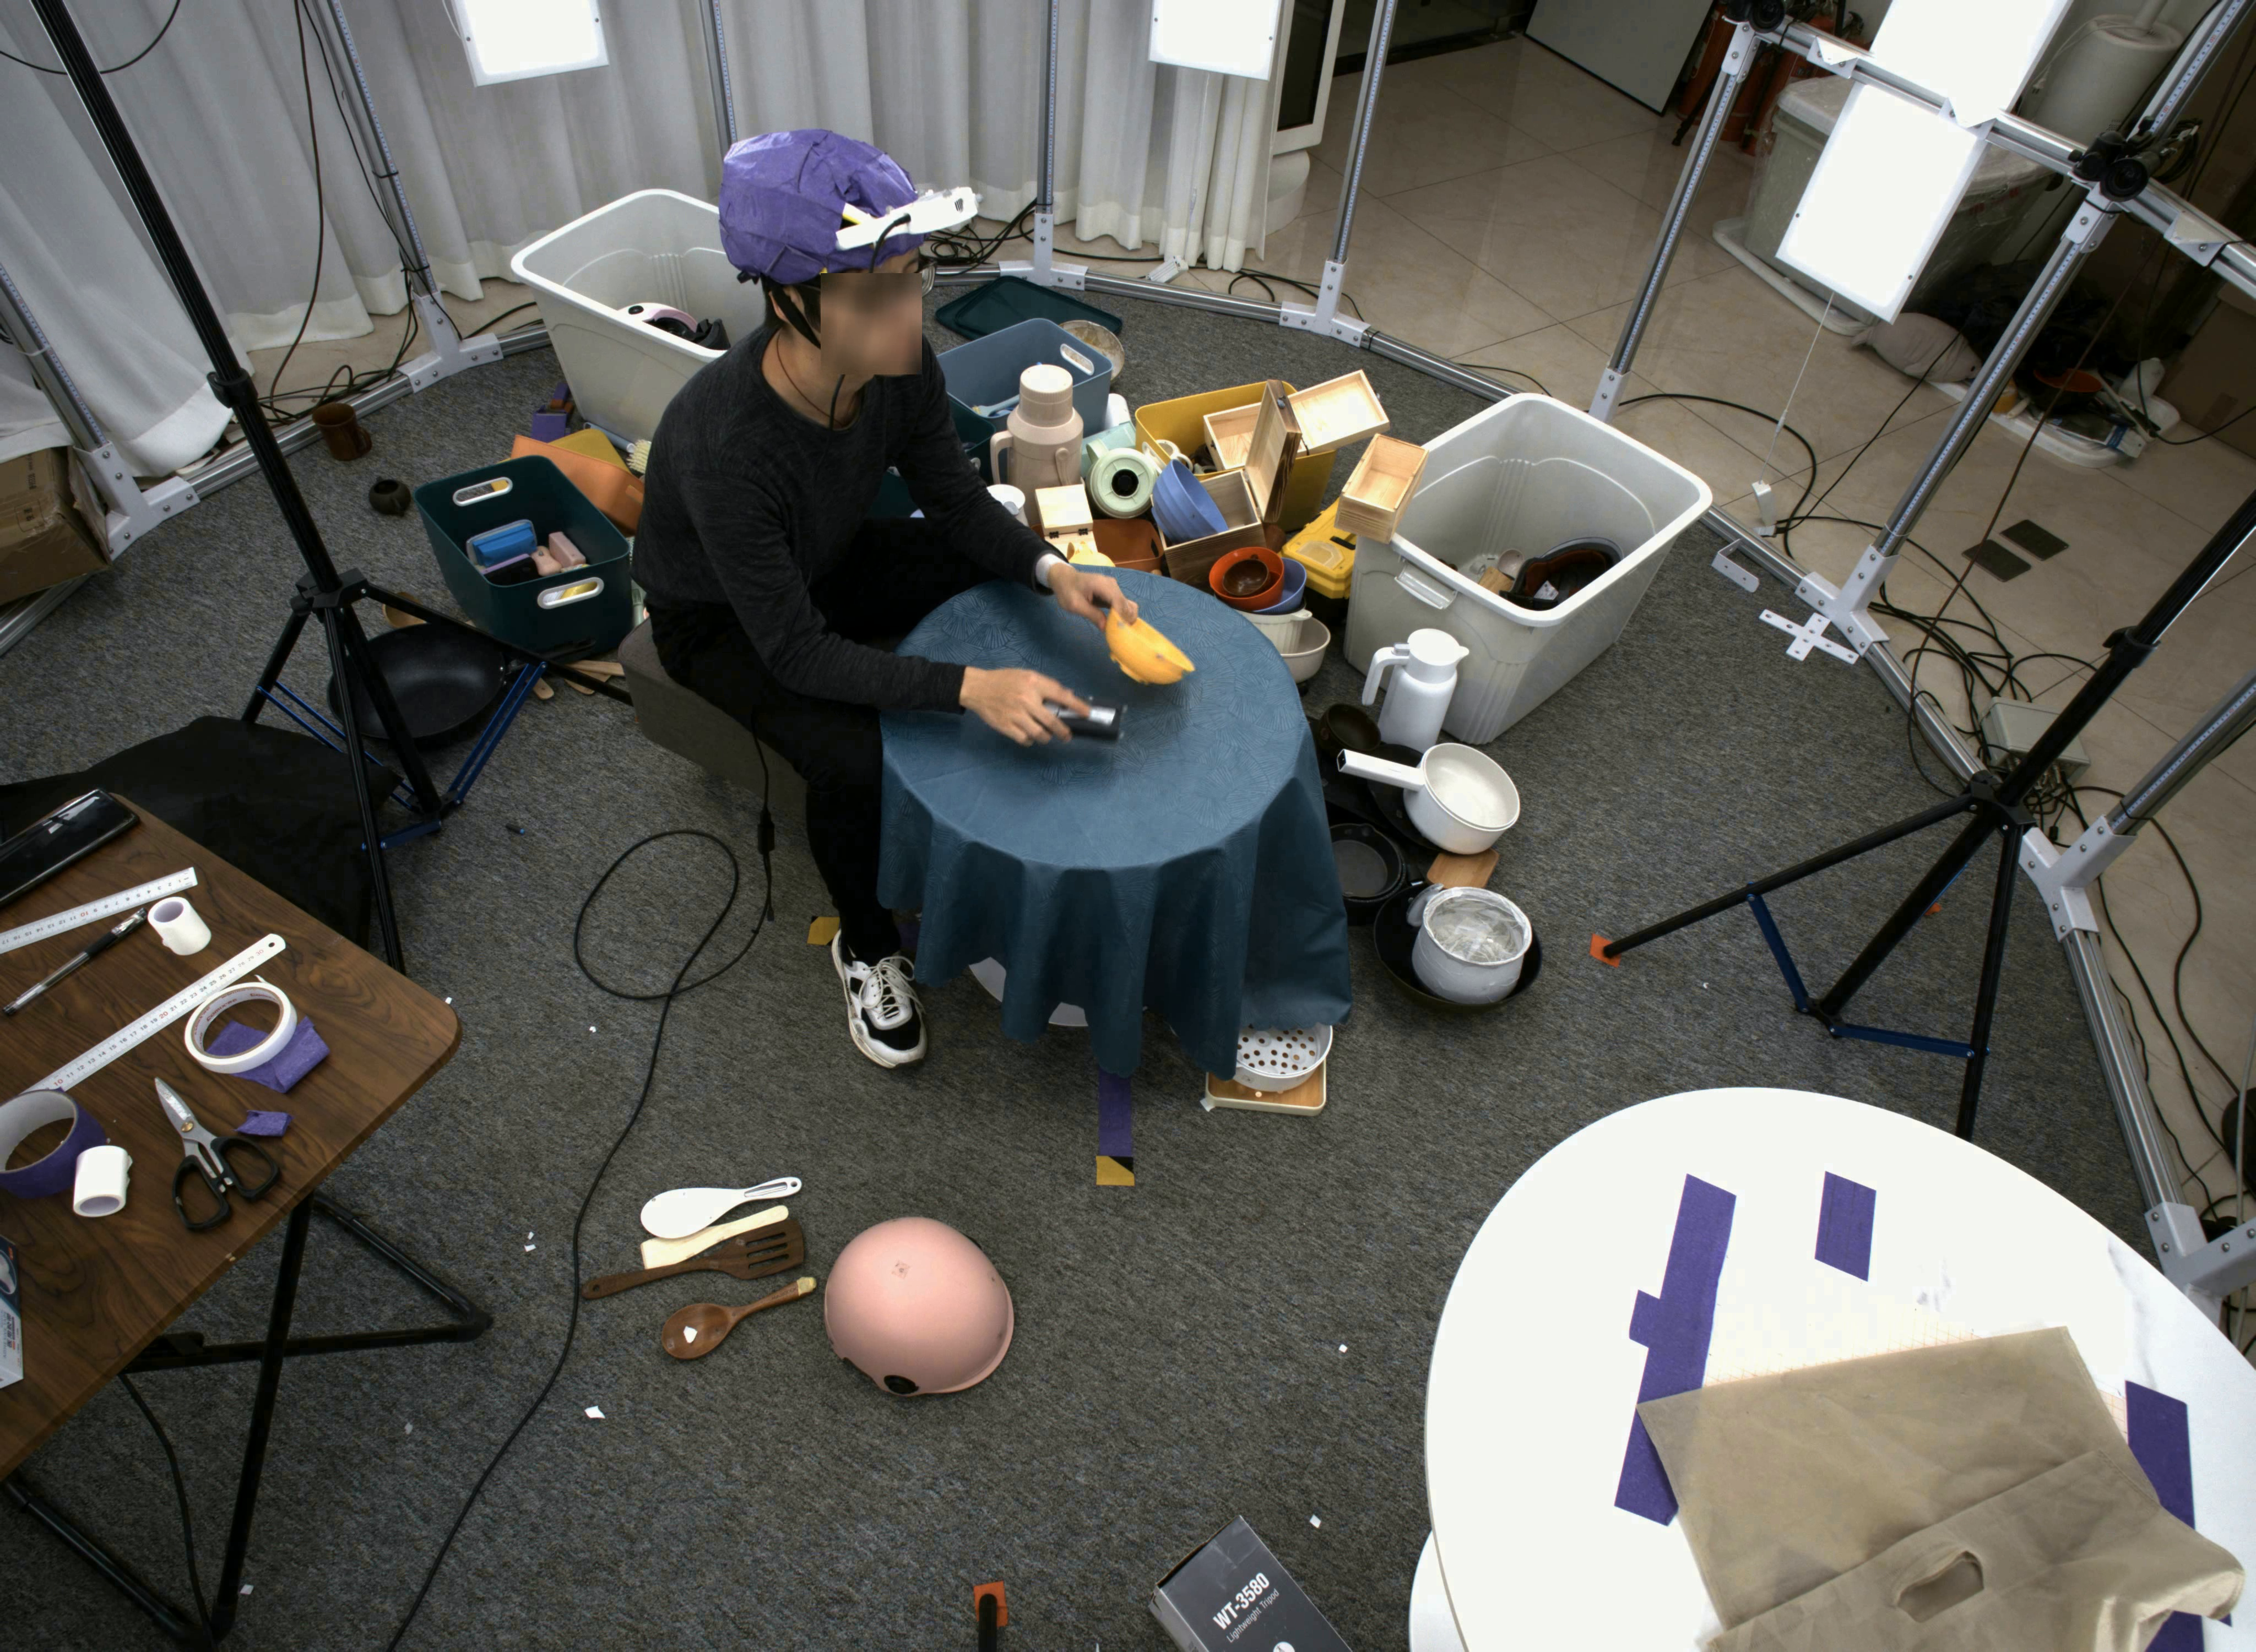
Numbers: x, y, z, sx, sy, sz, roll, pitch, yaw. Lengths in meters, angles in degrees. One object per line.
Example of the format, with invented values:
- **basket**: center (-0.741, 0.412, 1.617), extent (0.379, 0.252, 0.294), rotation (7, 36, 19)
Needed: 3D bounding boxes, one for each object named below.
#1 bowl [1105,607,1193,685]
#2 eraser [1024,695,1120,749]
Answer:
- **bowl**: center (0.018, -0.241, 1.806), extent (0.144, 0.059, 0.147), rotation (34, 17, -12)
- **eraser**: center (-0.074, -0.140, 1.717), extent (0.125, 0.030, 0.054), rotation (10, 59, -3)
